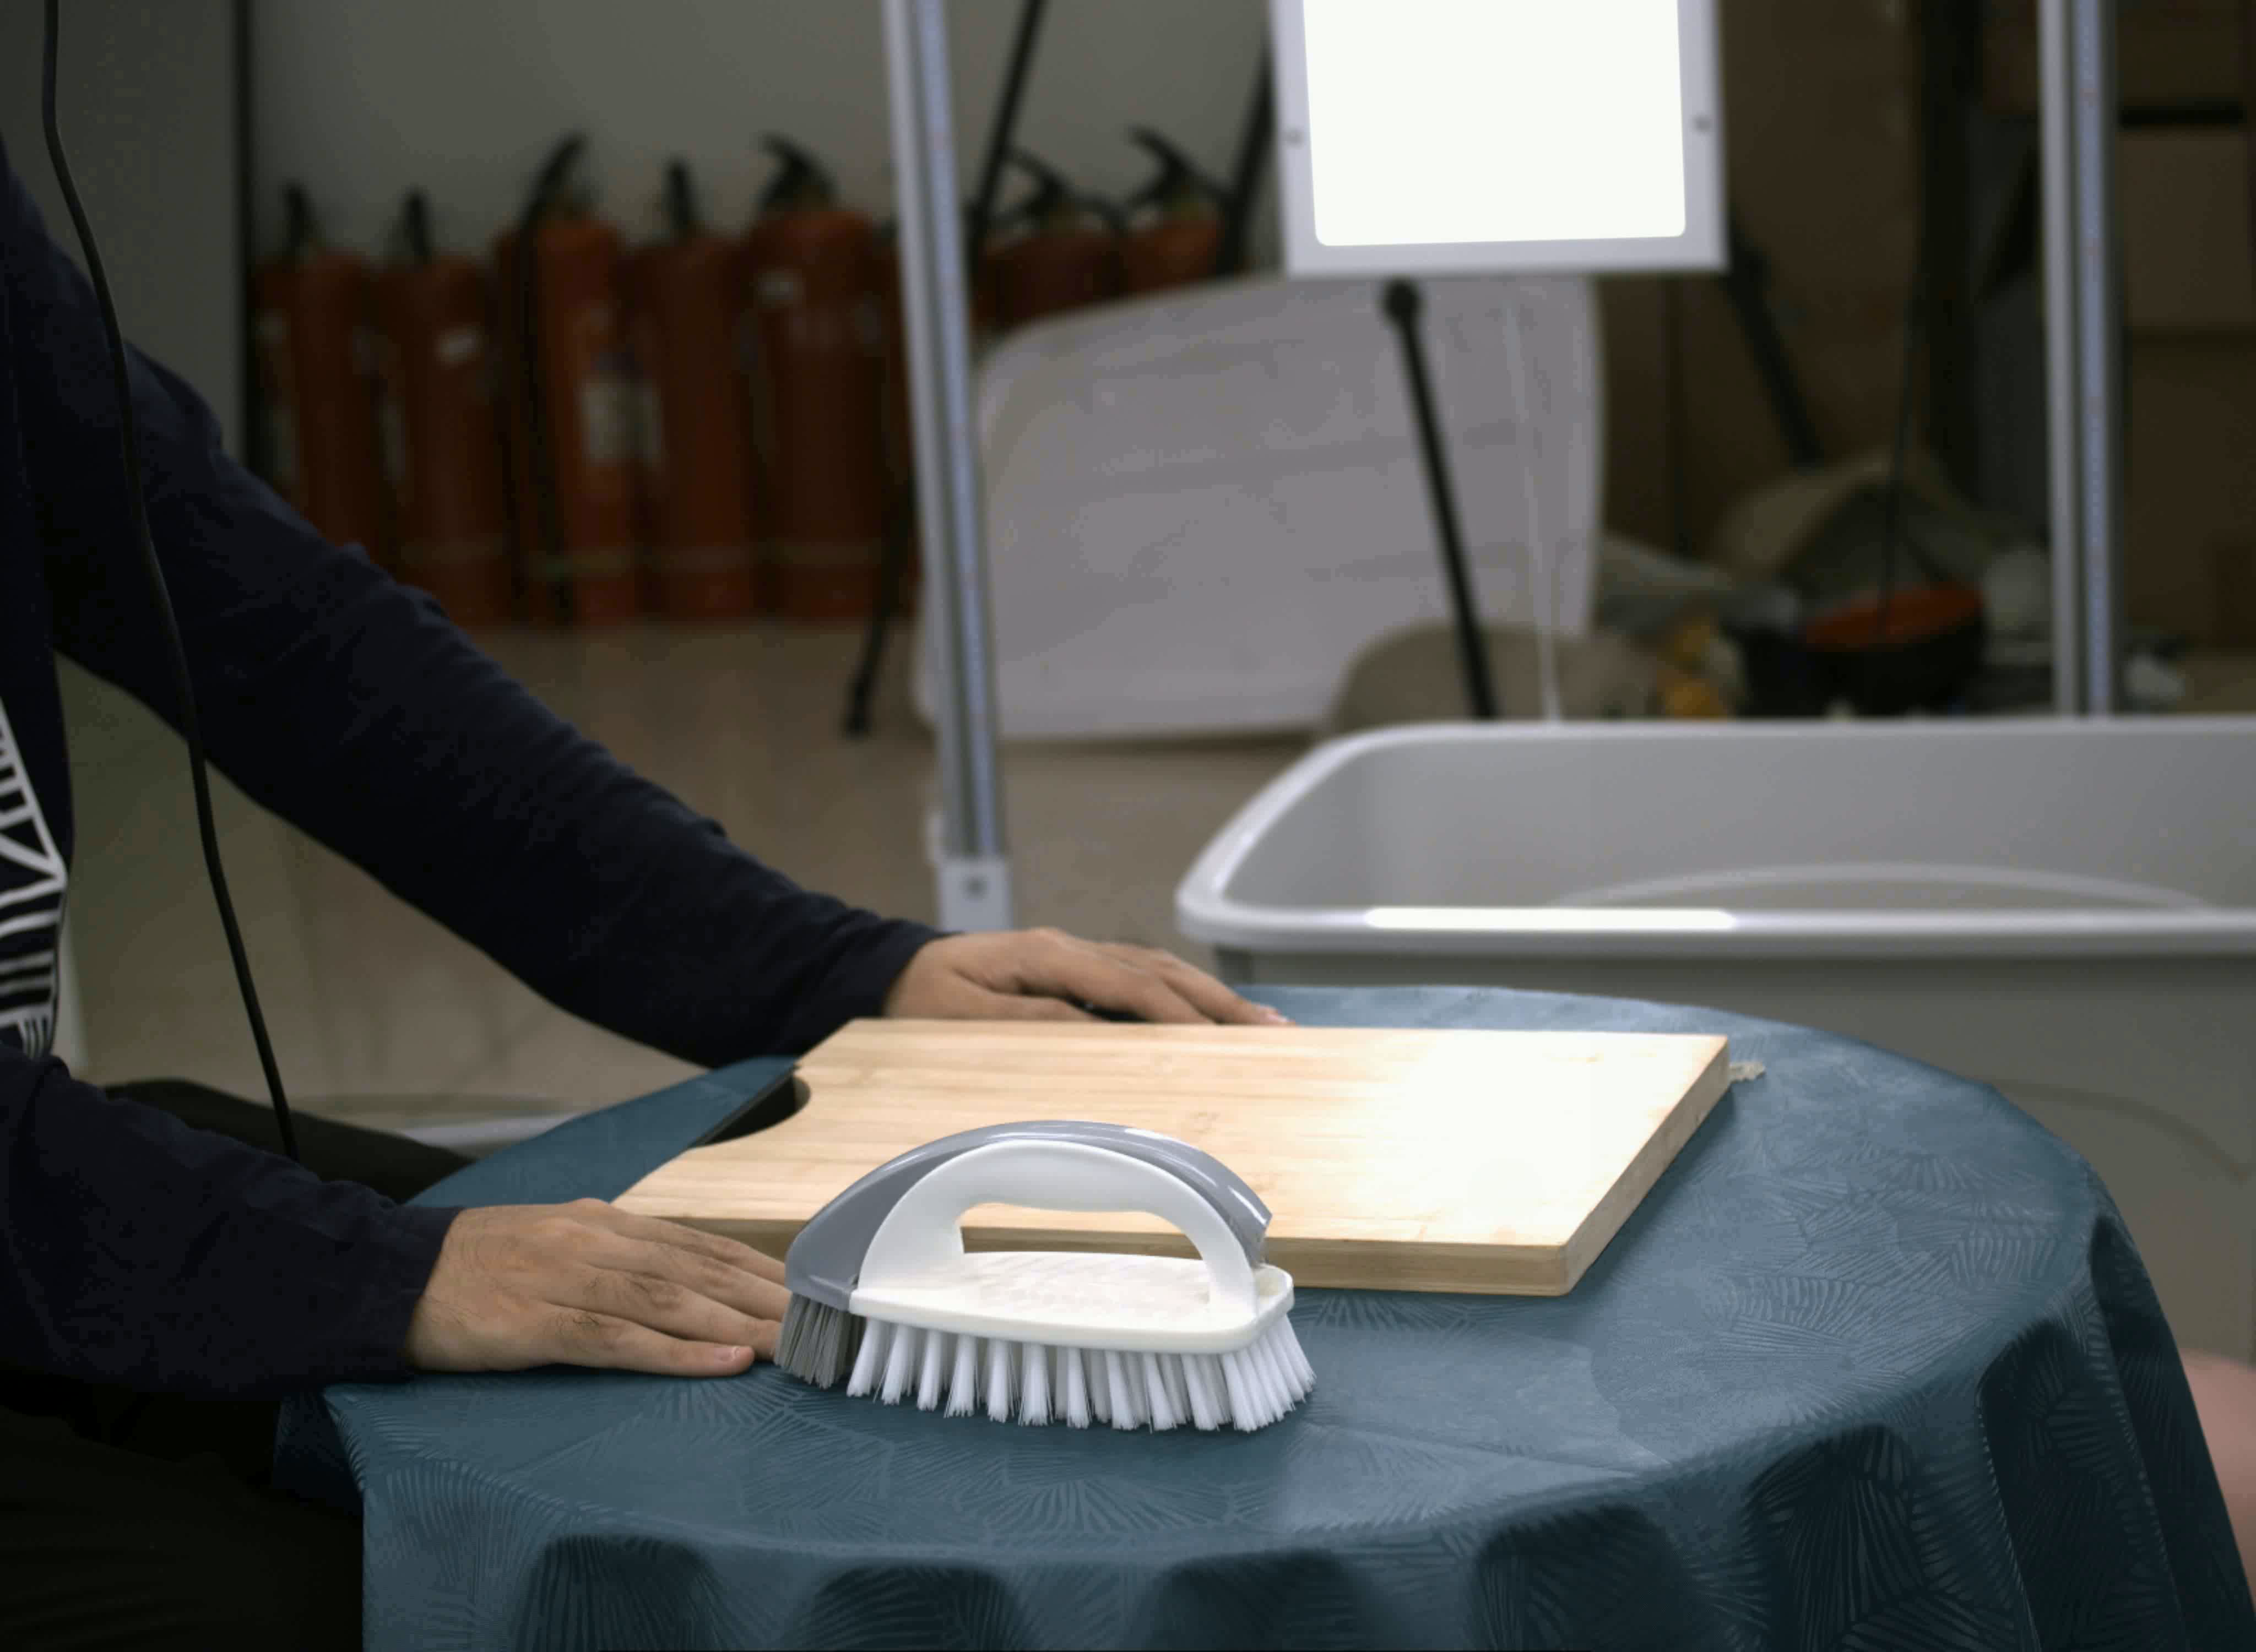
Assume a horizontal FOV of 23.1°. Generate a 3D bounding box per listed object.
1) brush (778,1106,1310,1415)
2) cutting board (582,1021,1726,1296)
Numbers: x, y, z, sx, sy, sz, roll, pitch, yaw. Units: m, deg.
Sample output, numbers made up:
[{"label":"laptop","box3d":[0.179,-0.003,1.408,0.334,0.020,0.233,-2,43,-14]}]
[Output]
[{"label":"brush","box3d":[-0.034,0.133,1.691,0.178,0.094,0.060,-1,13,27]},{"label":"cutting board","box3d":[0.014,0.112,1.920,0.353,0.023,0.246,0,14,21]}]
